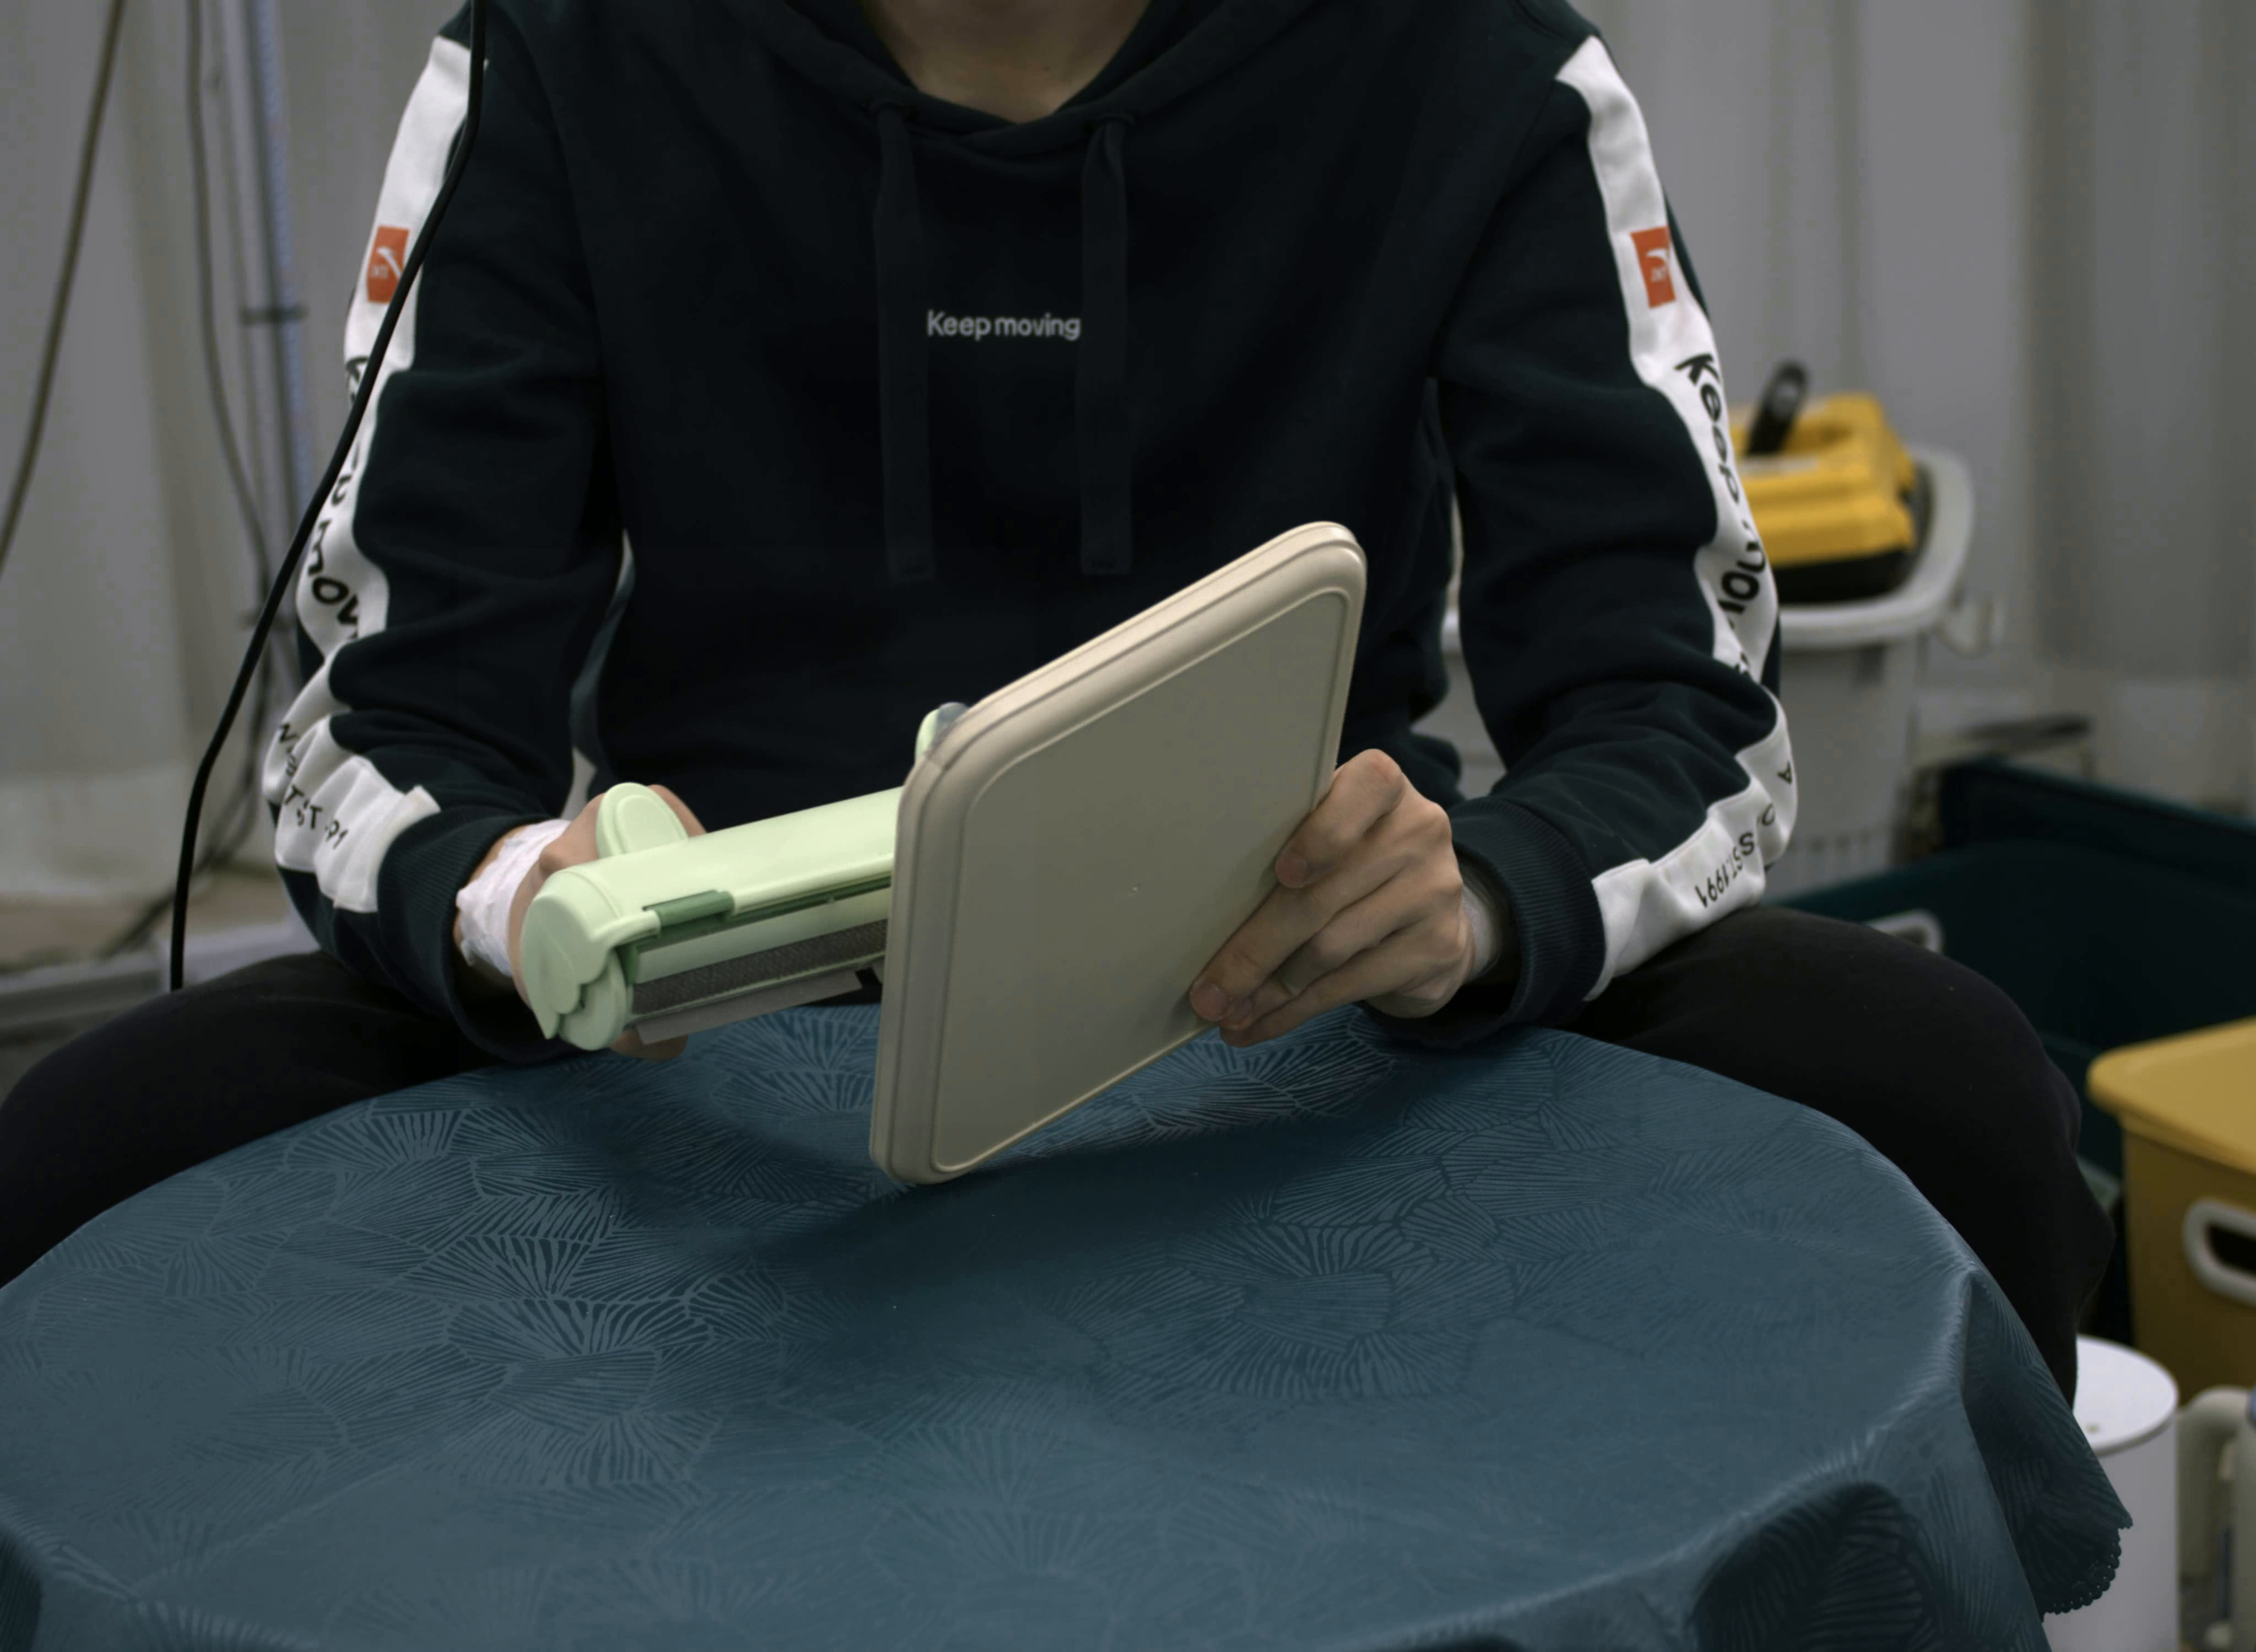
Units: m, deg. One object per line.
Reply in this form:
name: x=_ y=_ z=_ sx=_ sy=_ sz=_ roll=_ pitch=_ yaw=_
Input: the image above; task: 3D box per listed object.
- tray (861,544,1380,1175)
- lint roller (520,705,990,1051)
tray: x=-0.002 y=0.016 z=1.662 sx=0.171 sy=0.237 sz=0.017 roll=-28 pitch=64 yaw=-23
lint roller: x=-0.121 y=0.015 z=1.699 sx=0.198 sy=0.082 sz=0.184 roll=-14 pitch=8 yaw=-34
